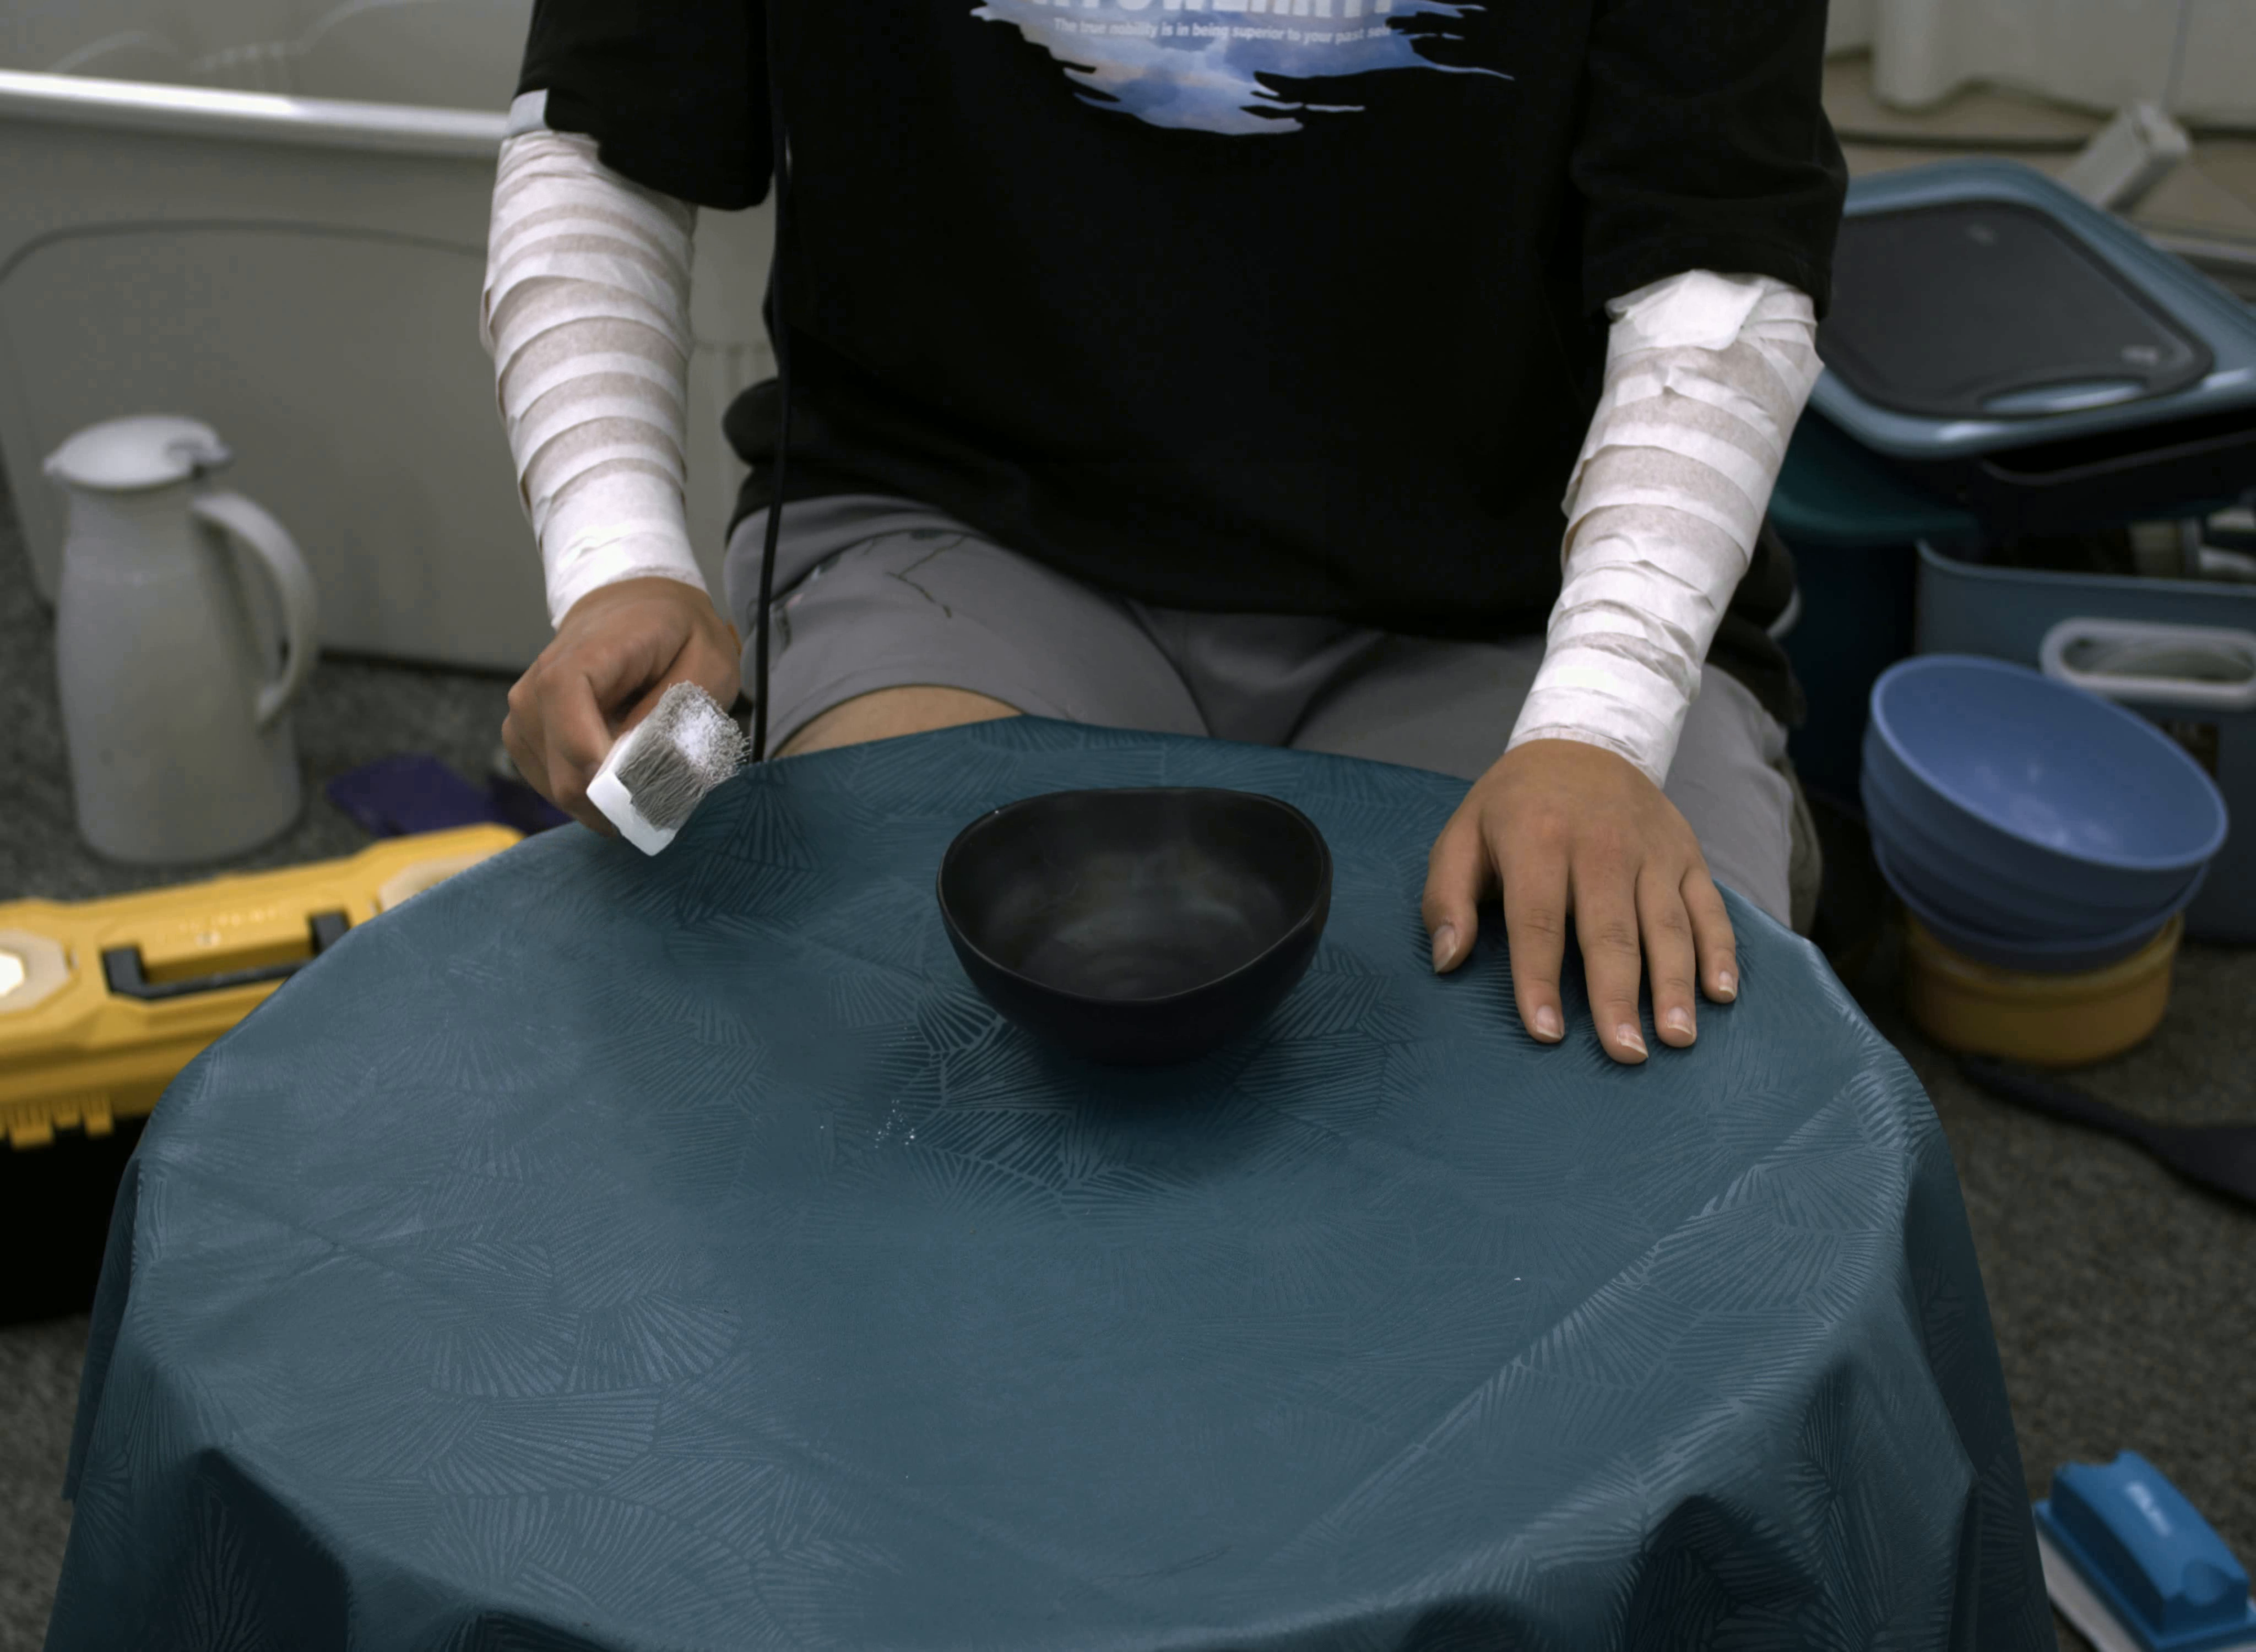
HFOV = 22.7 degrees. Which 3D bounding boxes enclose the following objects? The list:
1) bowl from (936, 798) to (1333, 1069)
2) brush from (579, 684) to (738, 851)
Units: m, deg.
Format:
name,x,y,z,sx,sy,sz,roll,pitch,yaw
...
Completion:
name,x,y,z,sx,sy,sz,roll,pitch,yaw
bowl,0.004,0.041,1.948,0.136,0.066,0.173,-1,25,4
brush,-0.162,-0.028,1.979,0.050,0.034,0.244,-46,6,2
